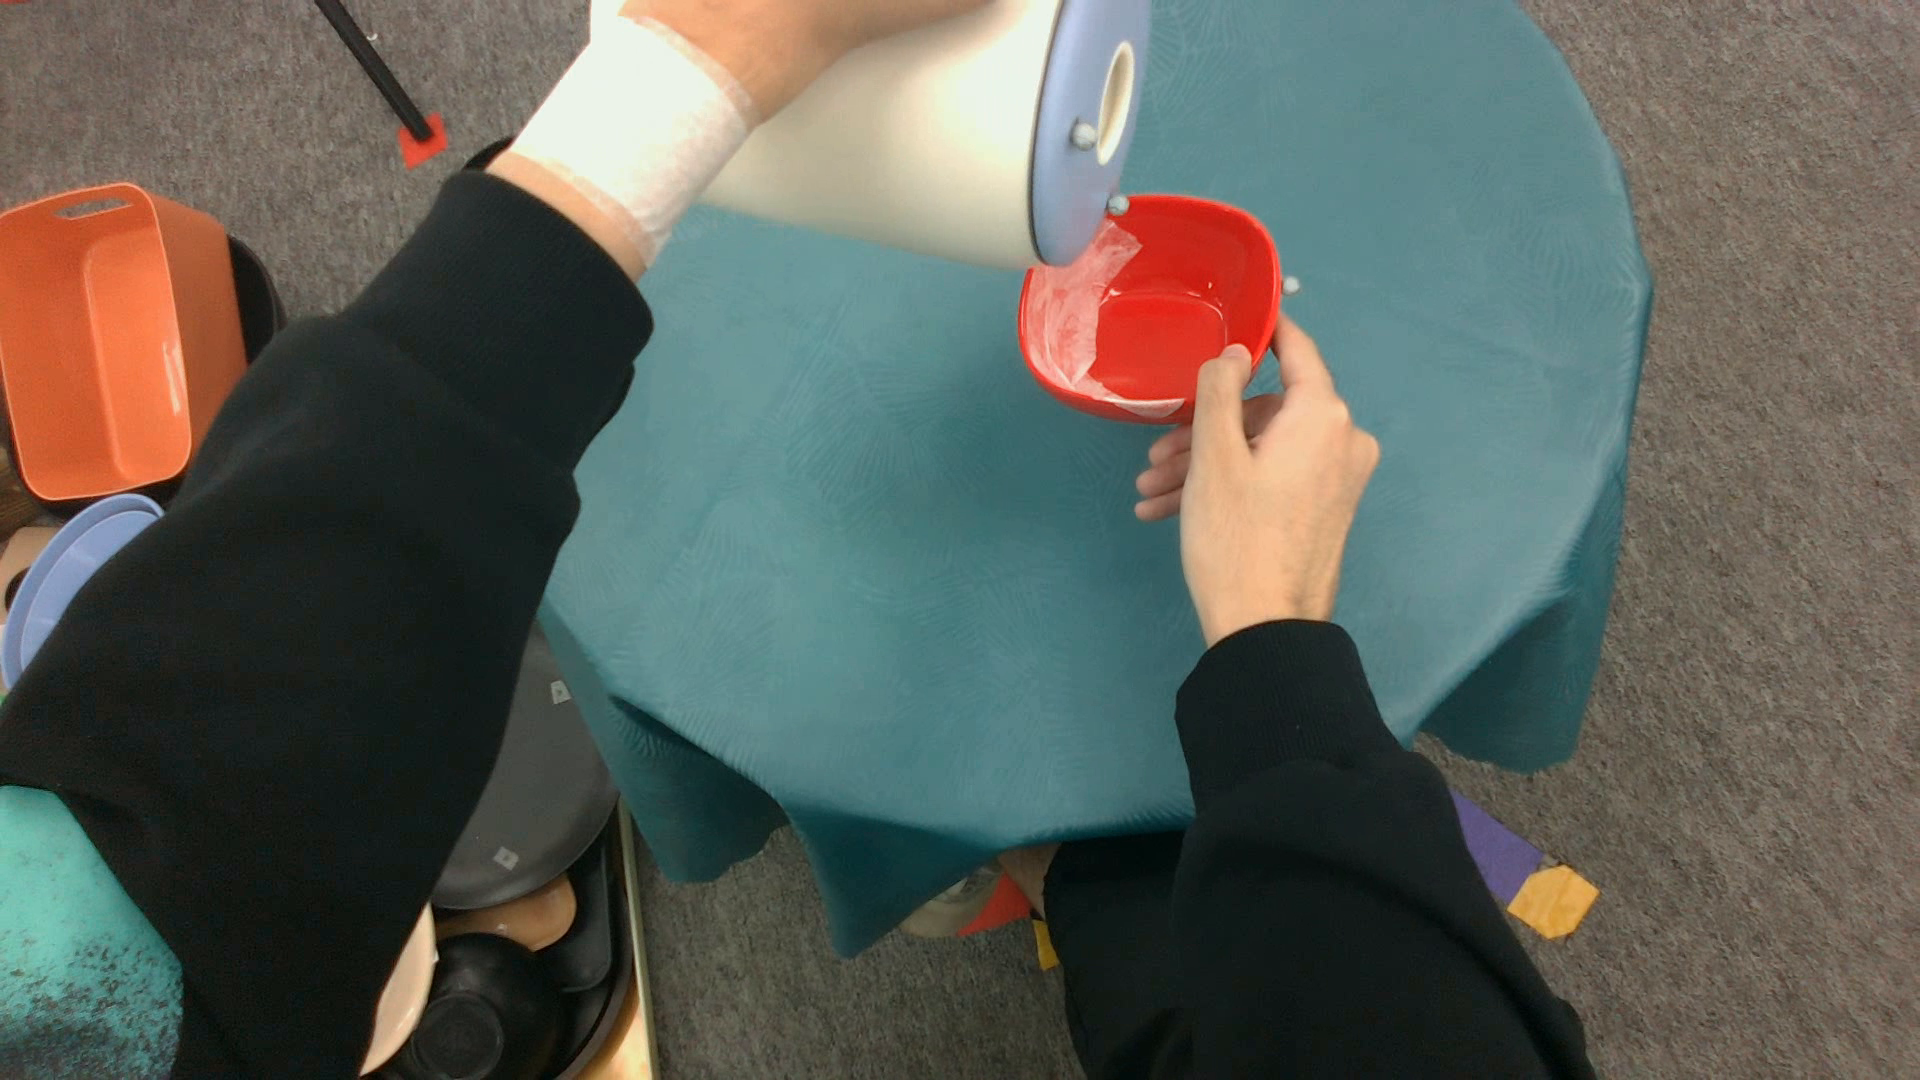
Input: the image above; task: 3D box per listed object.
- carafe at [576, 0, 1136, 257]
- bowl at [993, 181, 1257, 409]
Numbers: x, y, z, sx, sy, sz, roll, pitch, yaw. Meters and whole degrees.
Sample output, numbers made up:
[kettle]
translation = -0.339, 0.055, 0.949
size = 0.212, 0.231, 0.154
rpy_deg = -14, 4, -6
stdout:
[carafe]
translation = -0.039, -0.190, 0.487
size = 0.182, 0.191, 0.132
rpy_deg = 14, 75, 14
[bowl]
translation = 0.072, -0.099, 0.605
size = 0.119, 0.051, 0.119
rpy_deg = -3, 61, 6
